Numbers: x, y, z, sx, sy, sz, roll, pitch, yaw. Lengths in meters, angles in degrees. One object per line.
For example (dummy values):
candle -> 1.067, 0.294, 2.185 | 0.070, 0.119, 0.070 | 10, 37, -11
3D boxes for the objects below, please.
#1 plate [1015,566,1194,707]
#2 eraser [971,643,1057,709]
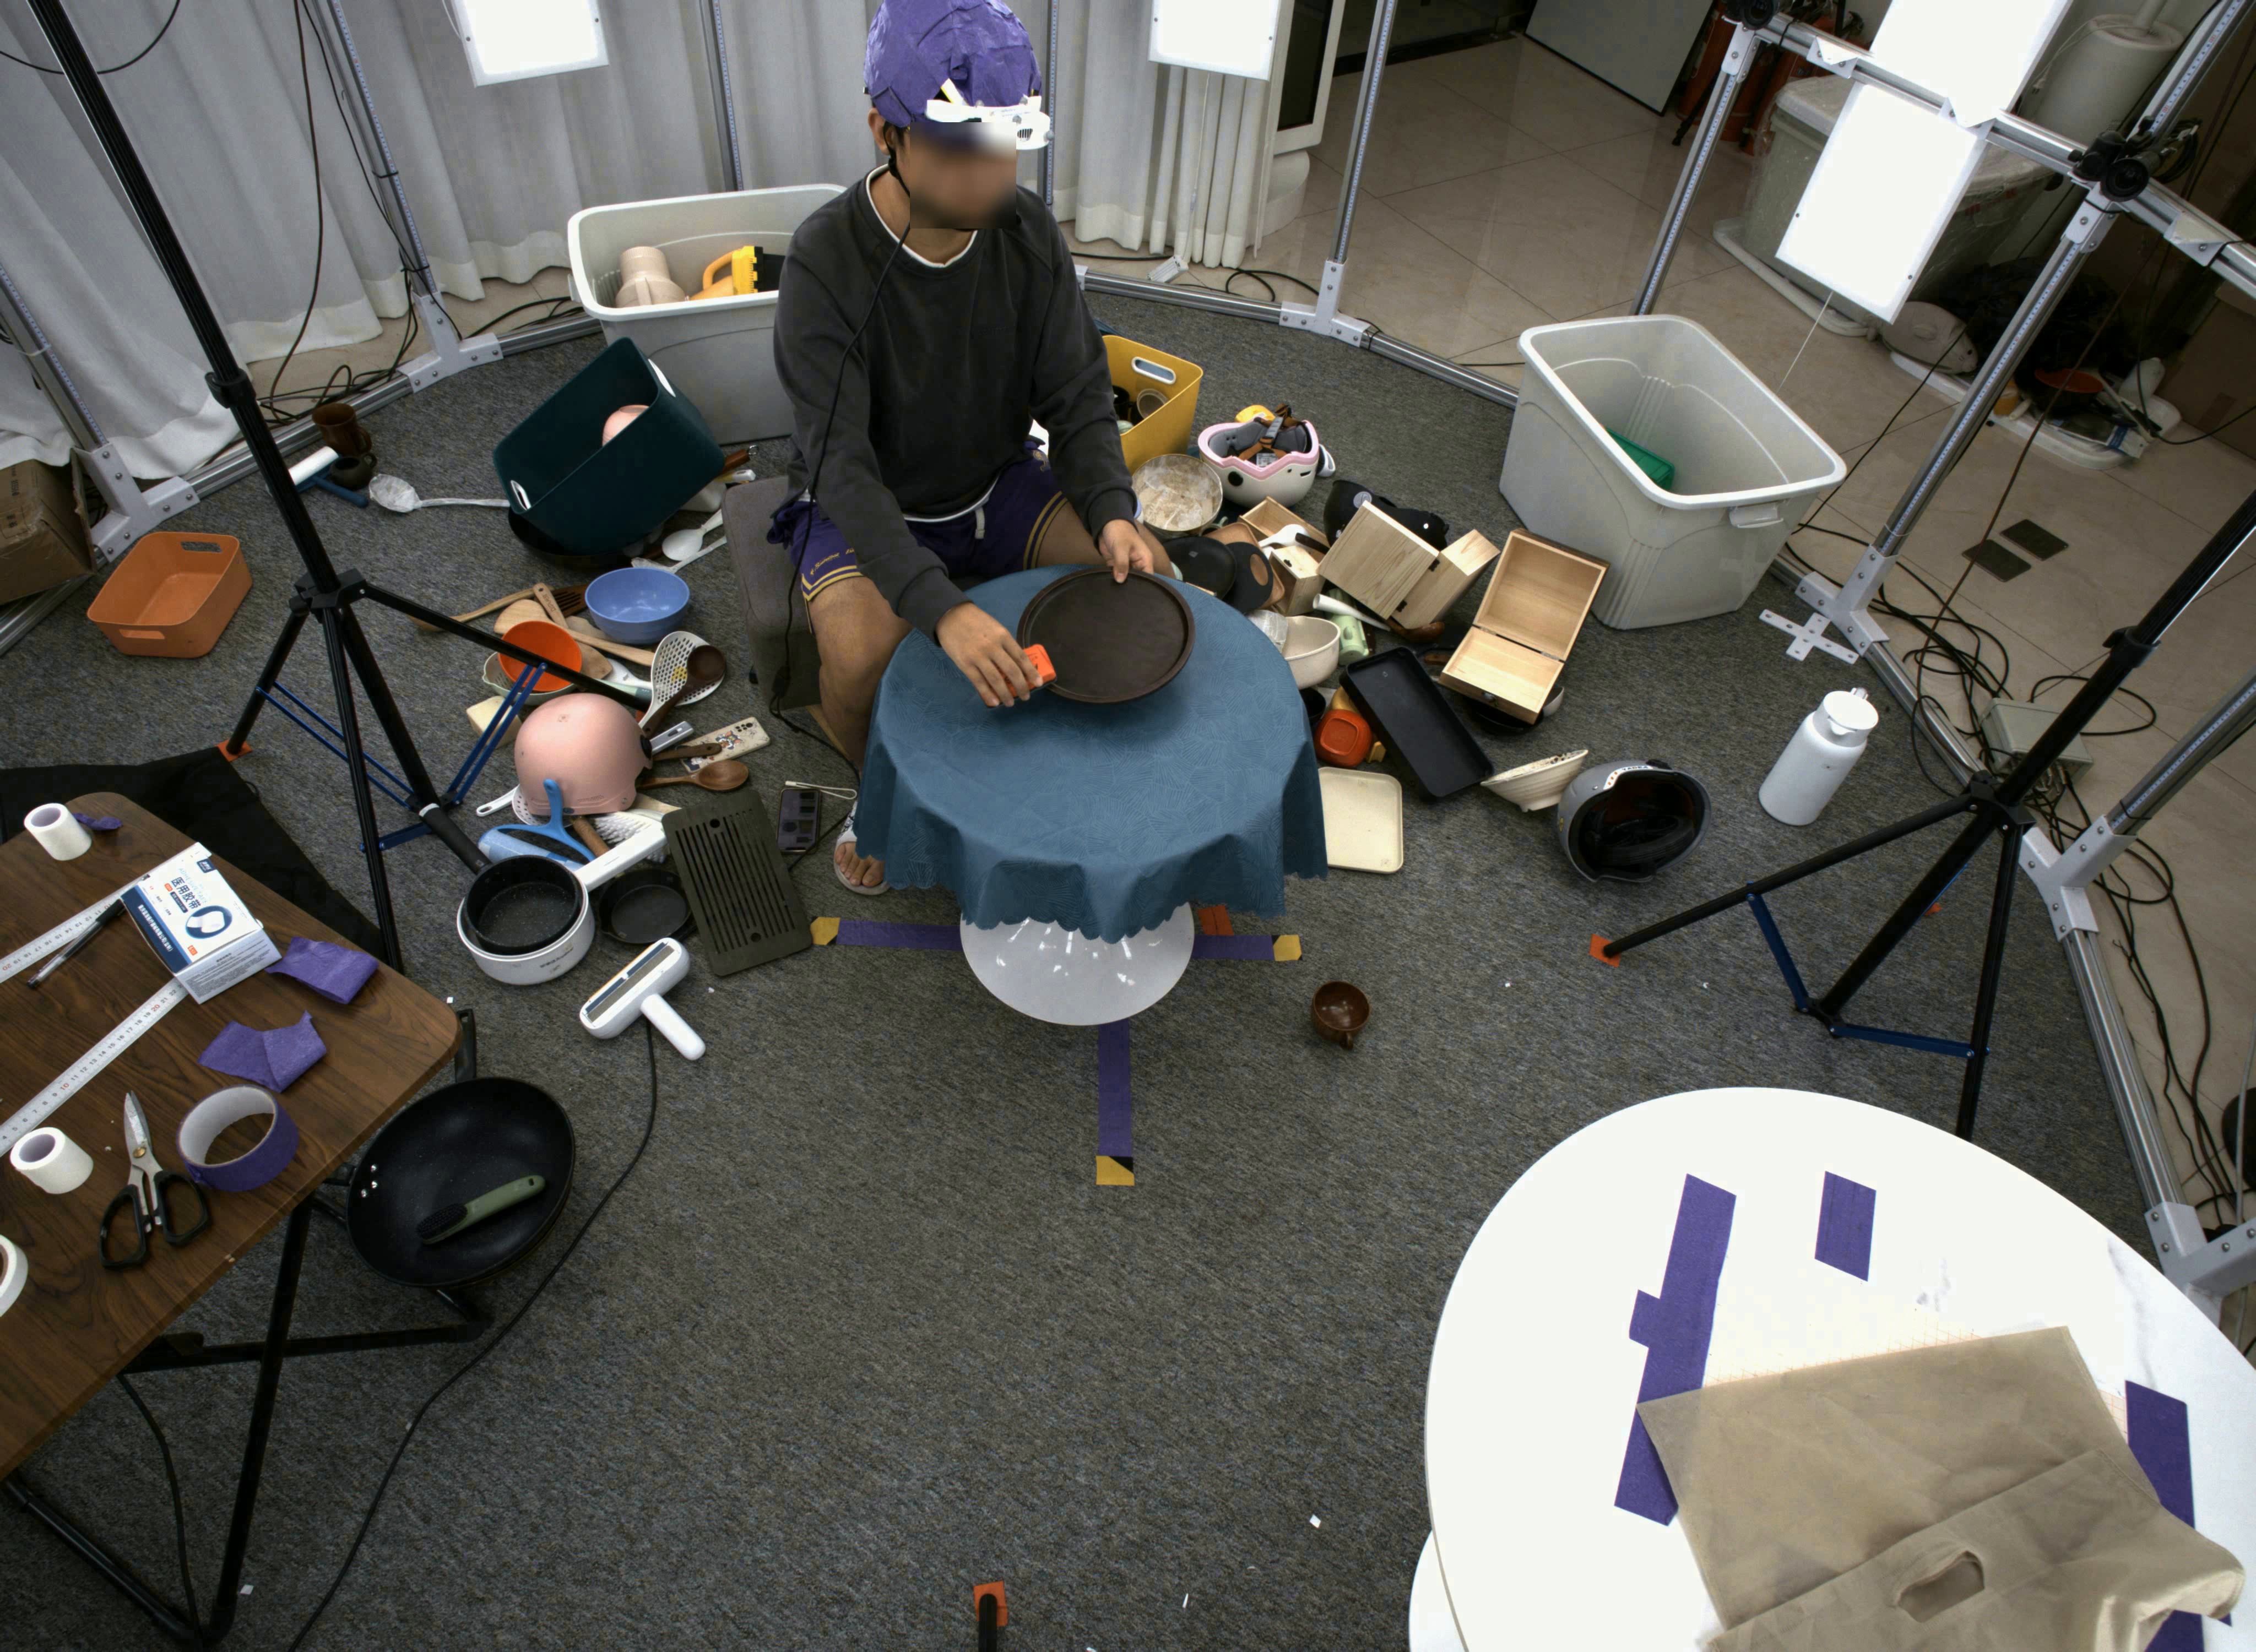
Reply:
plate -> -0.032, -0.269, 1.816 | 0.255, 0.028, 0.261 | -3, 56, 4
eraser -> -0.156, -0.205, 1.753 | 0.108, 0.022, 0.060 | -25, 57, -8
